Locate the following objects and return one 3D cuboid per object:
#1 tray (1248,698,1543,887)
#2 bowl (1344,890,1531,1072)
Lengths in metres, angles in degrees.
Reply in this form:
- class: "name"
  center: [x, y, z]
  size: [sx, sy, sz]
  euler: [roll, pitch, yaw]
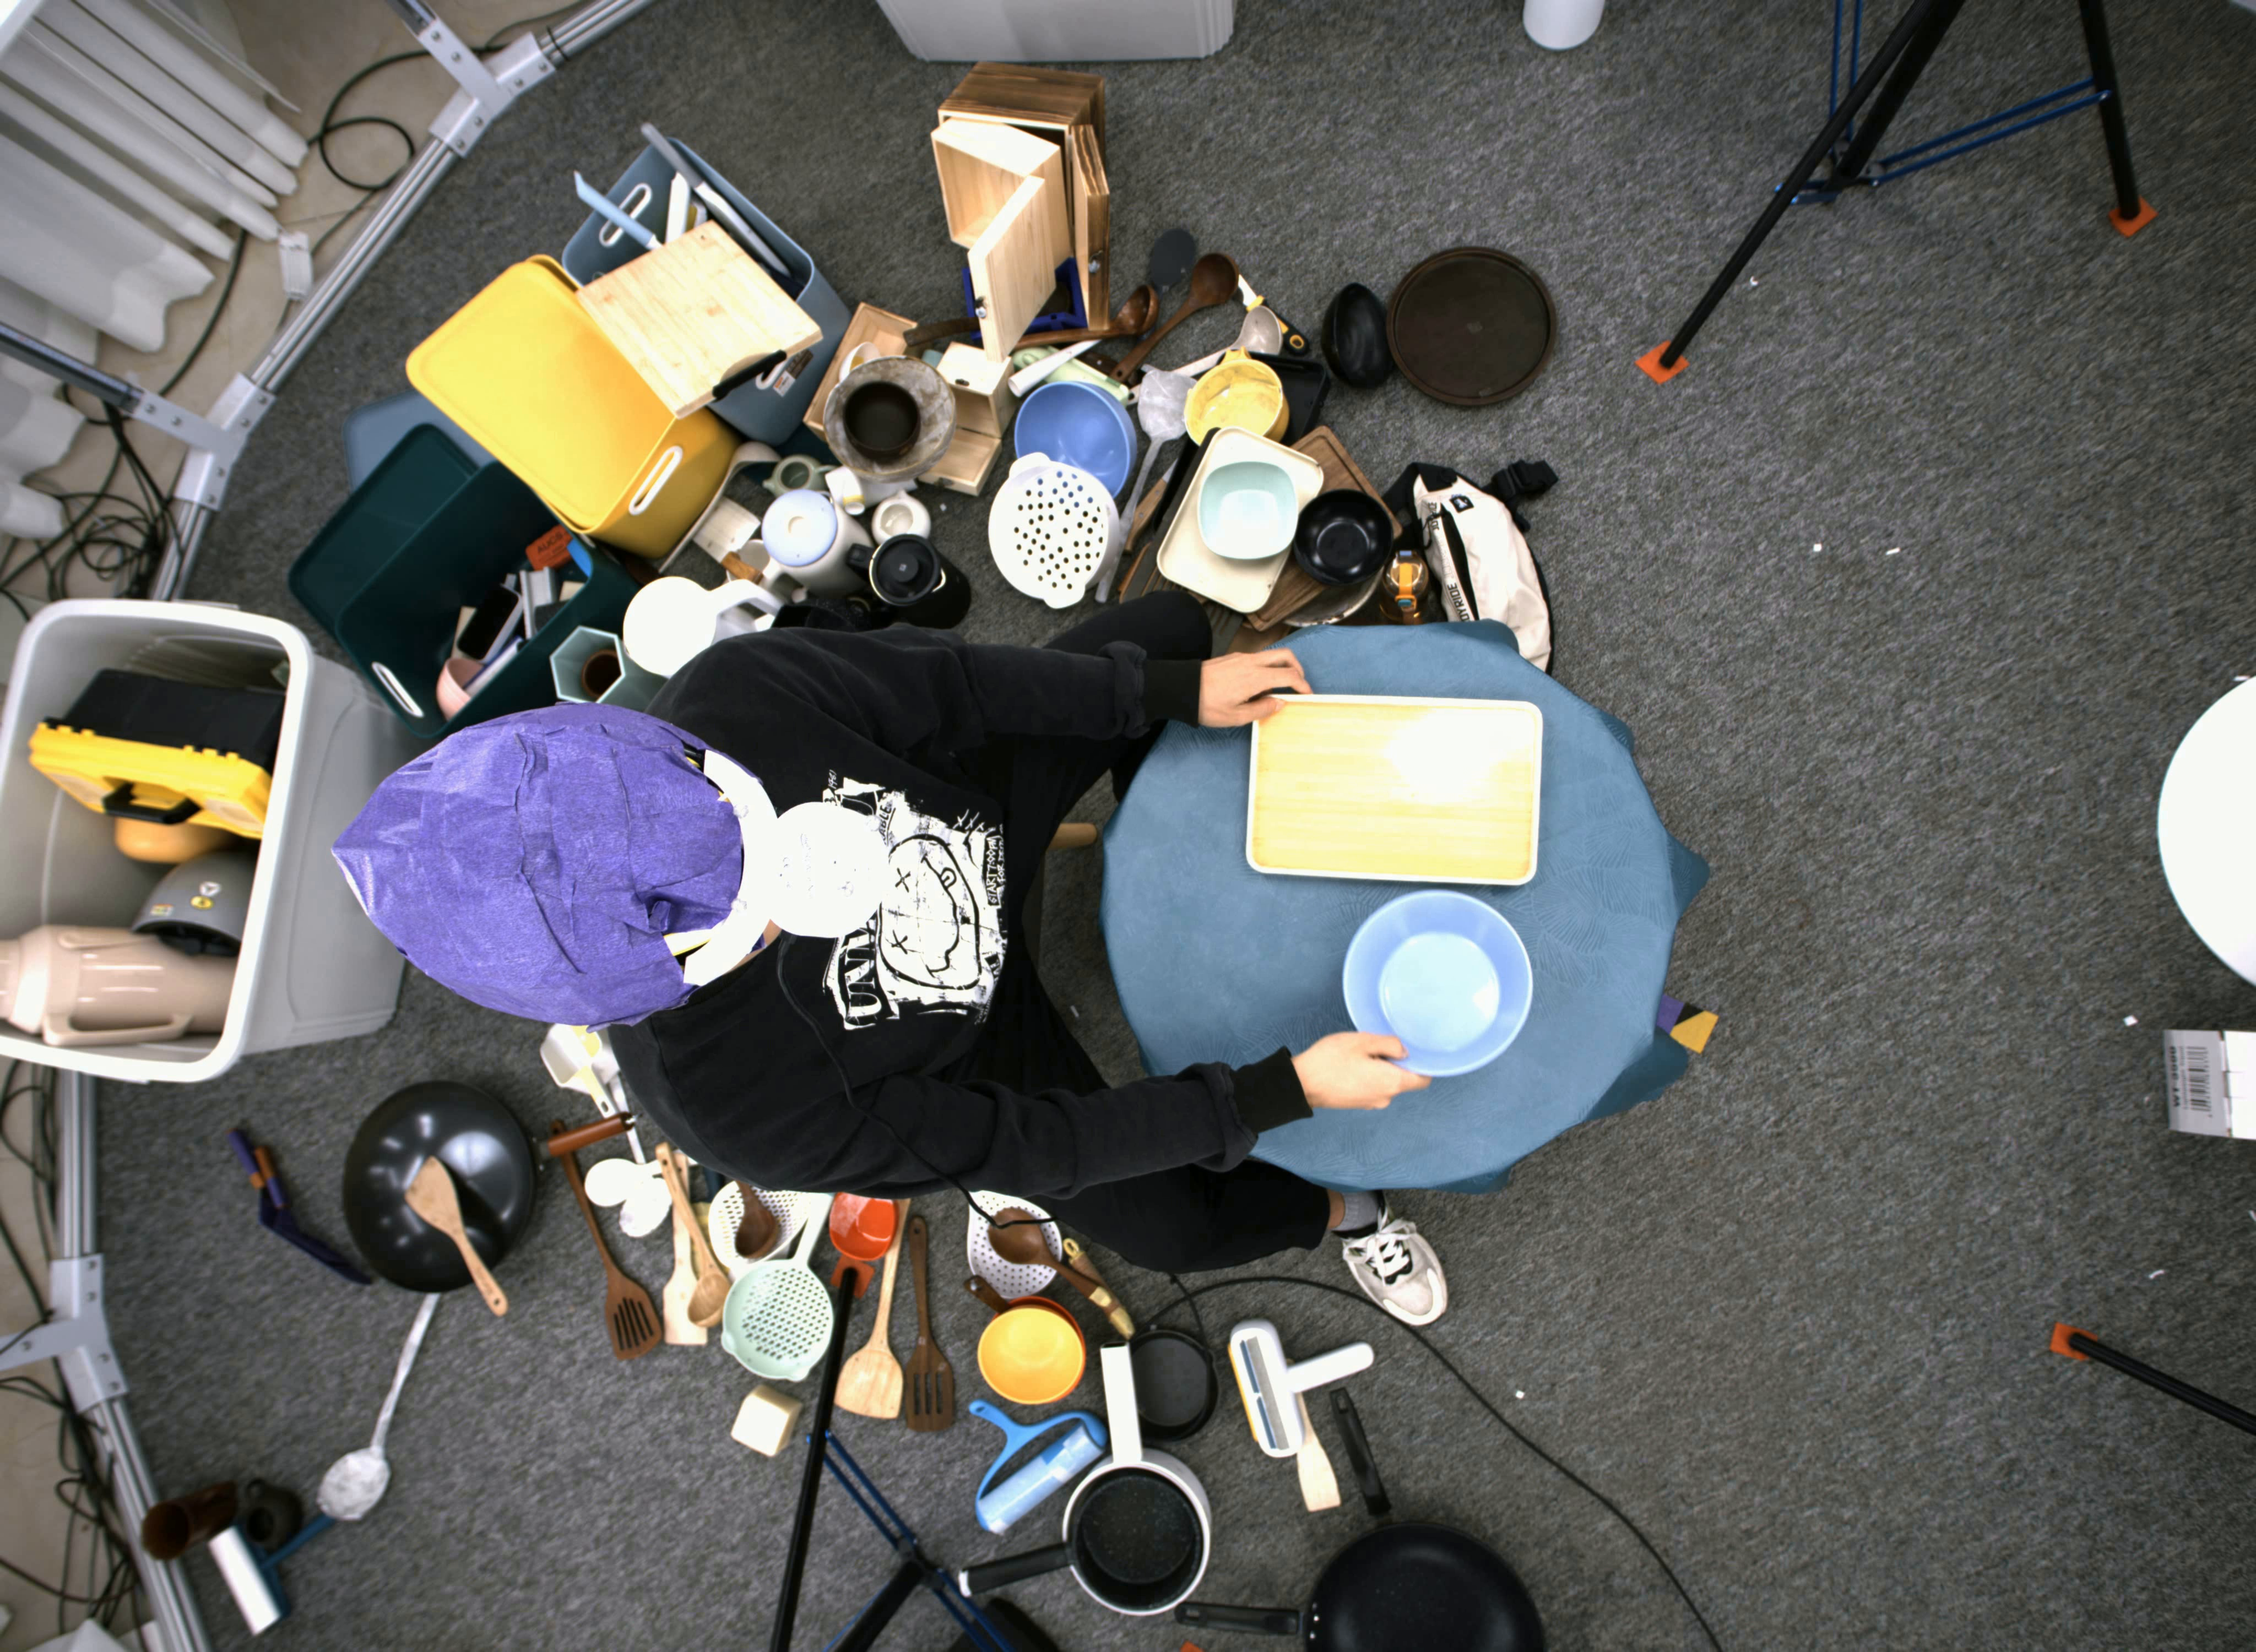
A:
- class: "tray"
  center: [0.280, -0.038, 1.451]
  size: [0.301, 0.027, 0.191]
  euler: [2, 90, 10]
- class: "bowl"
  center: [0.300, 0.153, 1.340]
  size: [0.177, 0.071, 0.173]
  euler: [-4, 75, 14]
